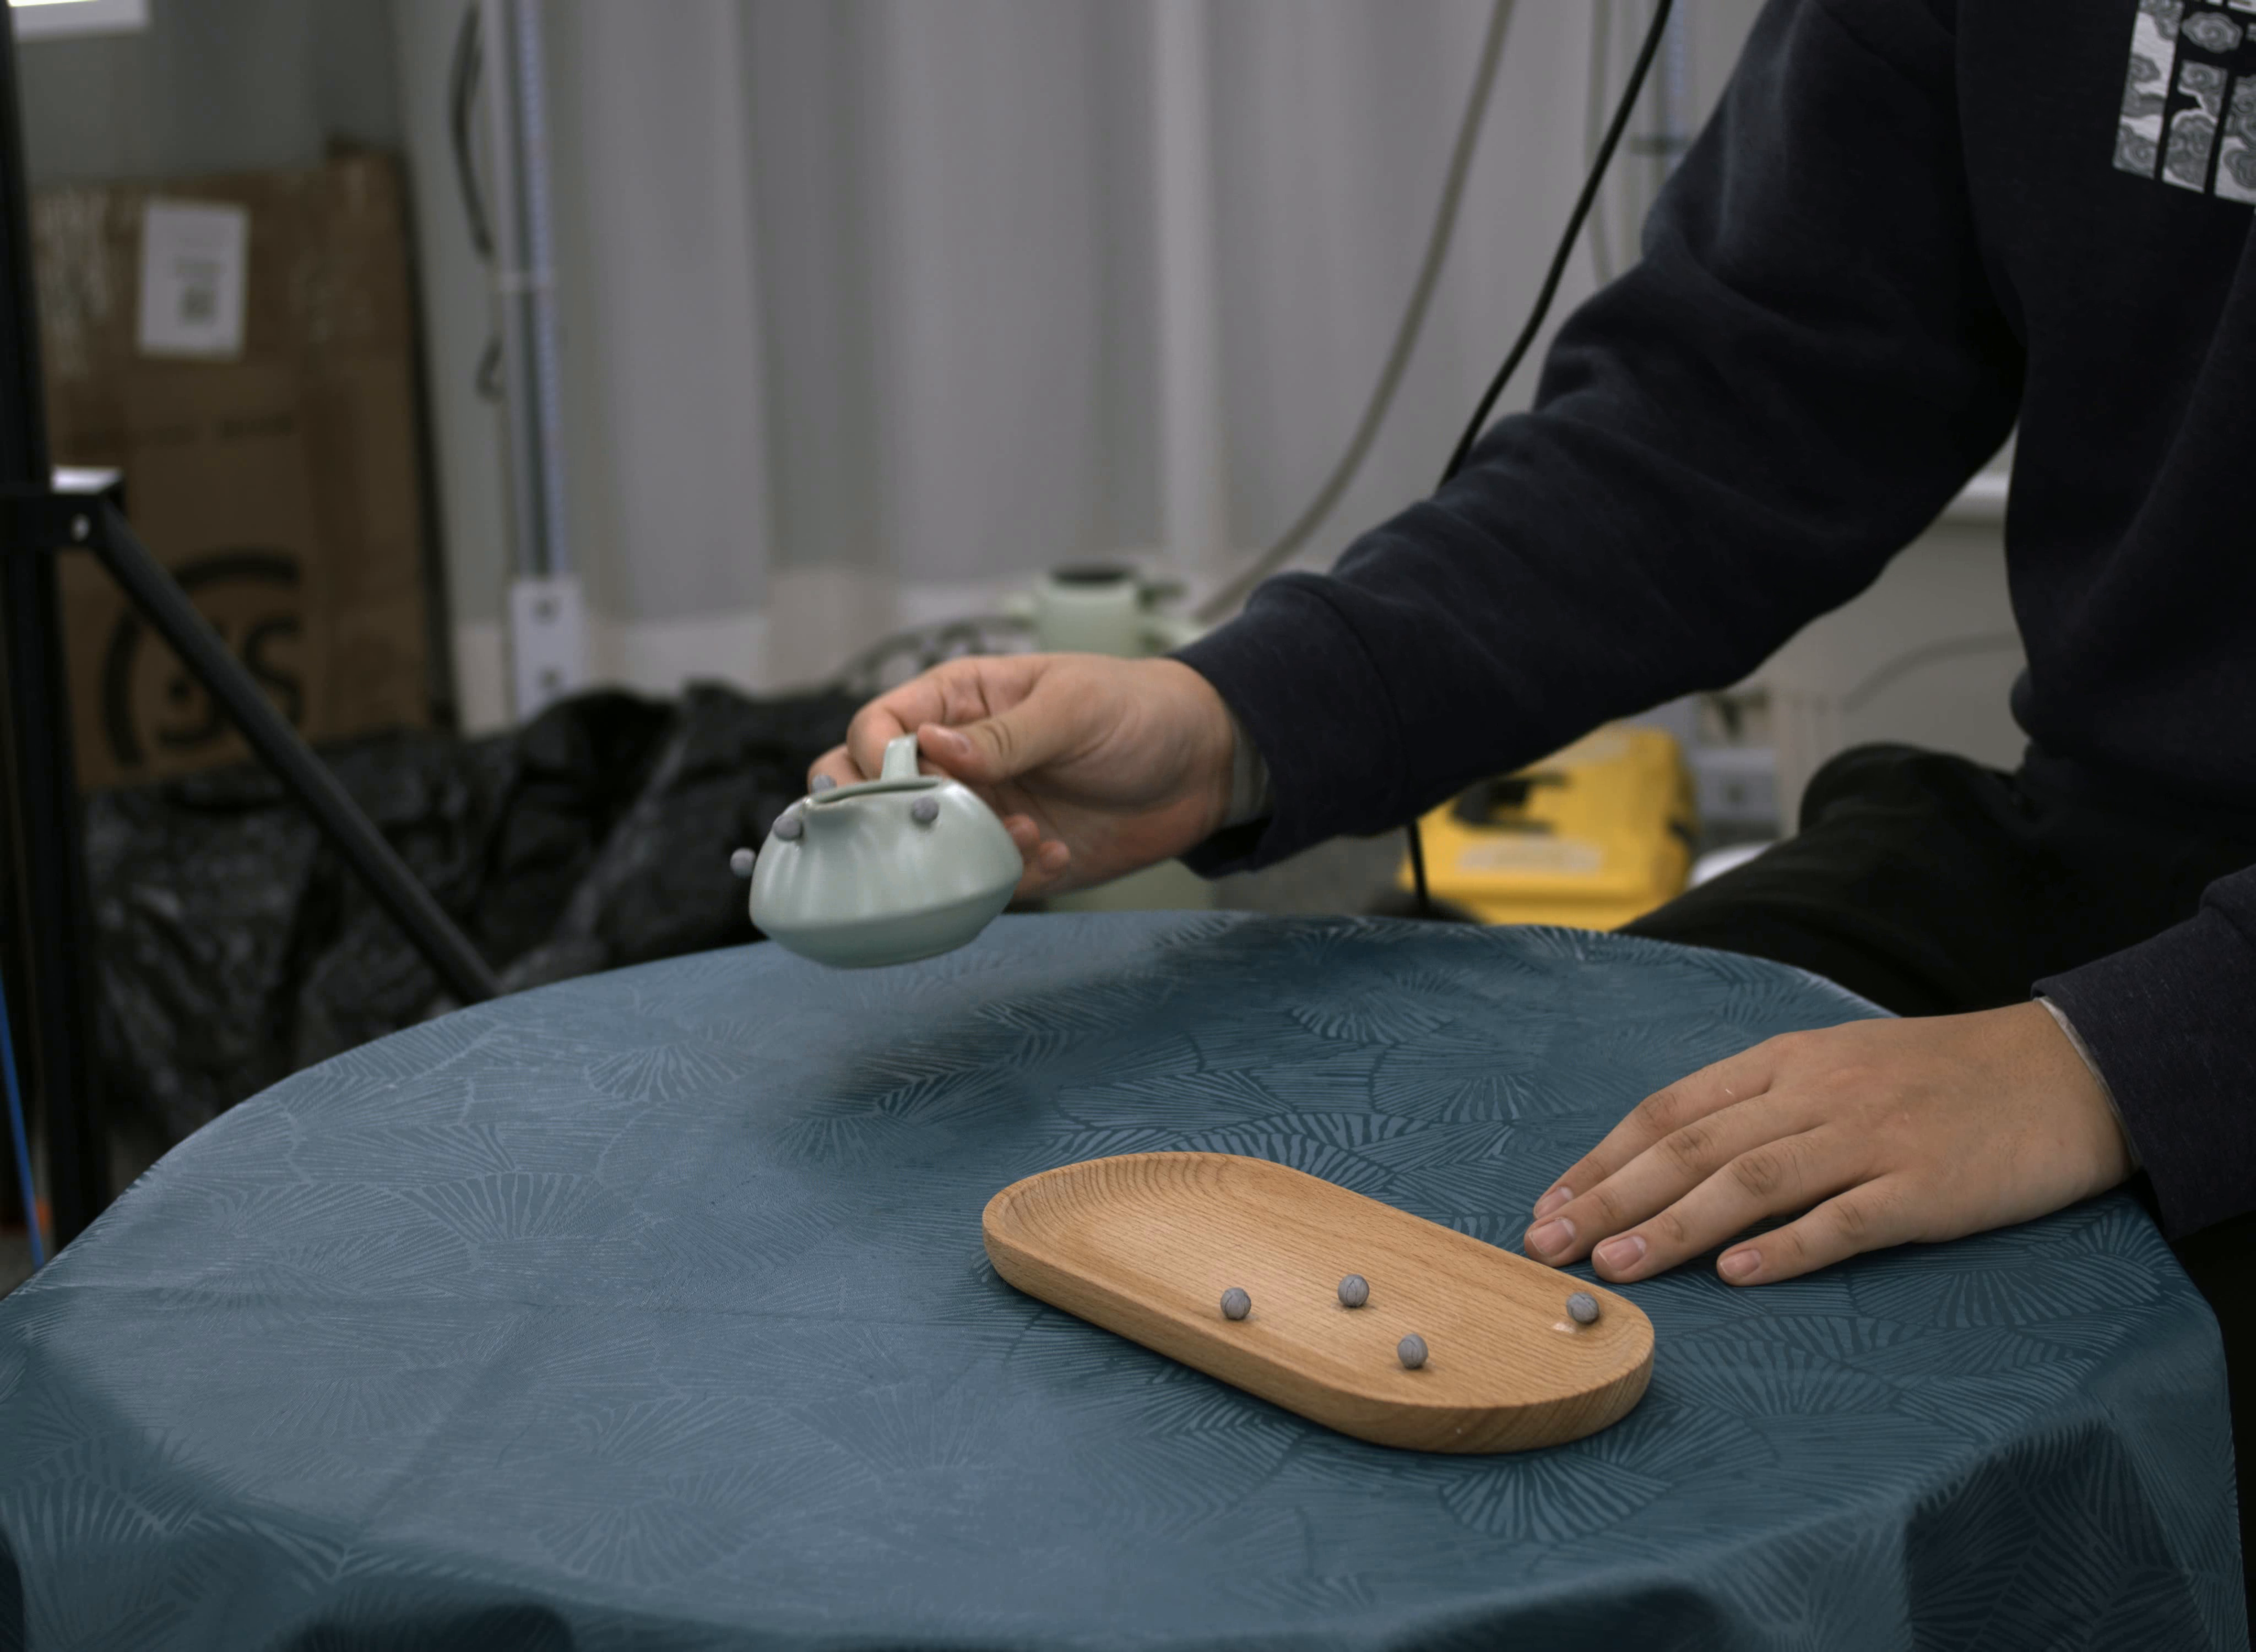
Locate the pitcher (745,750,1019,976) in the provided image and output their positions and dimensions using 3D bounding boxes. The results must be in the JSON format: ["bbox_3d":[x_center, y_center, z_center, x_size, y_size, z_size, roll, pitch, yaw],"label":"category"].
[{"bbox_3d":[-0.075,0.012,1.661,0.086,0.060,0.107,-6,8,16],"label":"pitcher"}]

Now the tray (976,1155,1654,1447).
[{"bbox_3d":[0.049,0.128,1.450,0.099,0.020,0.236,-12,16,-35],"label":"tray"}]
